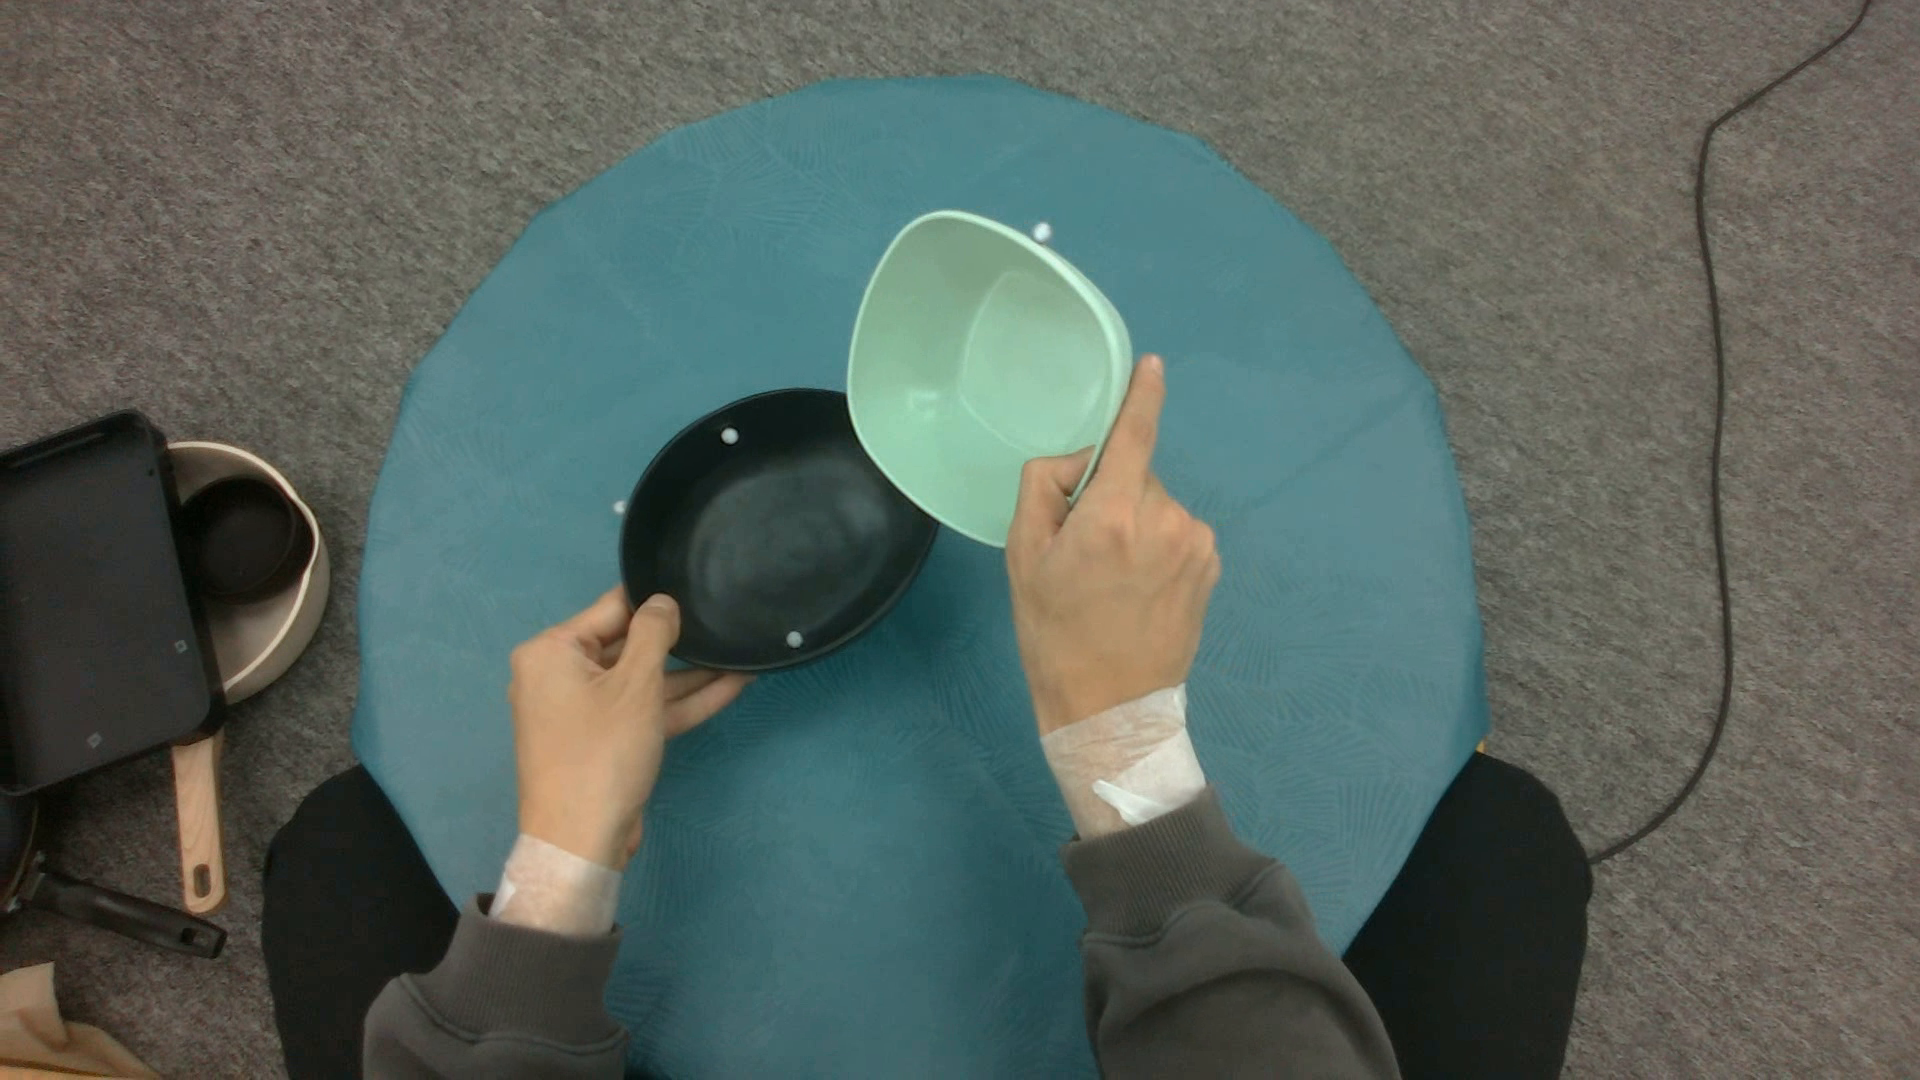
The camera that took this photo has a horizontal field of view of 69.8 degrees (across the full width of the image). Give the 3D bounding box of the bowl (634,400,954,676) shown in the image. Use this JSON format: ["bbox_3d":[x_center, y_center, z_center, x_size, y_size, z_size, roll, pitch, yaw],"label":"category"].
[{"bbox_3d":[-0.082,0.003,0.706,0.171,0.066,0.137,-36,75,-17],"label":"bowl"}]

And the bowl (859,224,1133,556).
[{"bbox_3d":[0.025,-0.072,0.637,0.059,0.150,0.151,-20,66,-48],"label":"bowl"}]
